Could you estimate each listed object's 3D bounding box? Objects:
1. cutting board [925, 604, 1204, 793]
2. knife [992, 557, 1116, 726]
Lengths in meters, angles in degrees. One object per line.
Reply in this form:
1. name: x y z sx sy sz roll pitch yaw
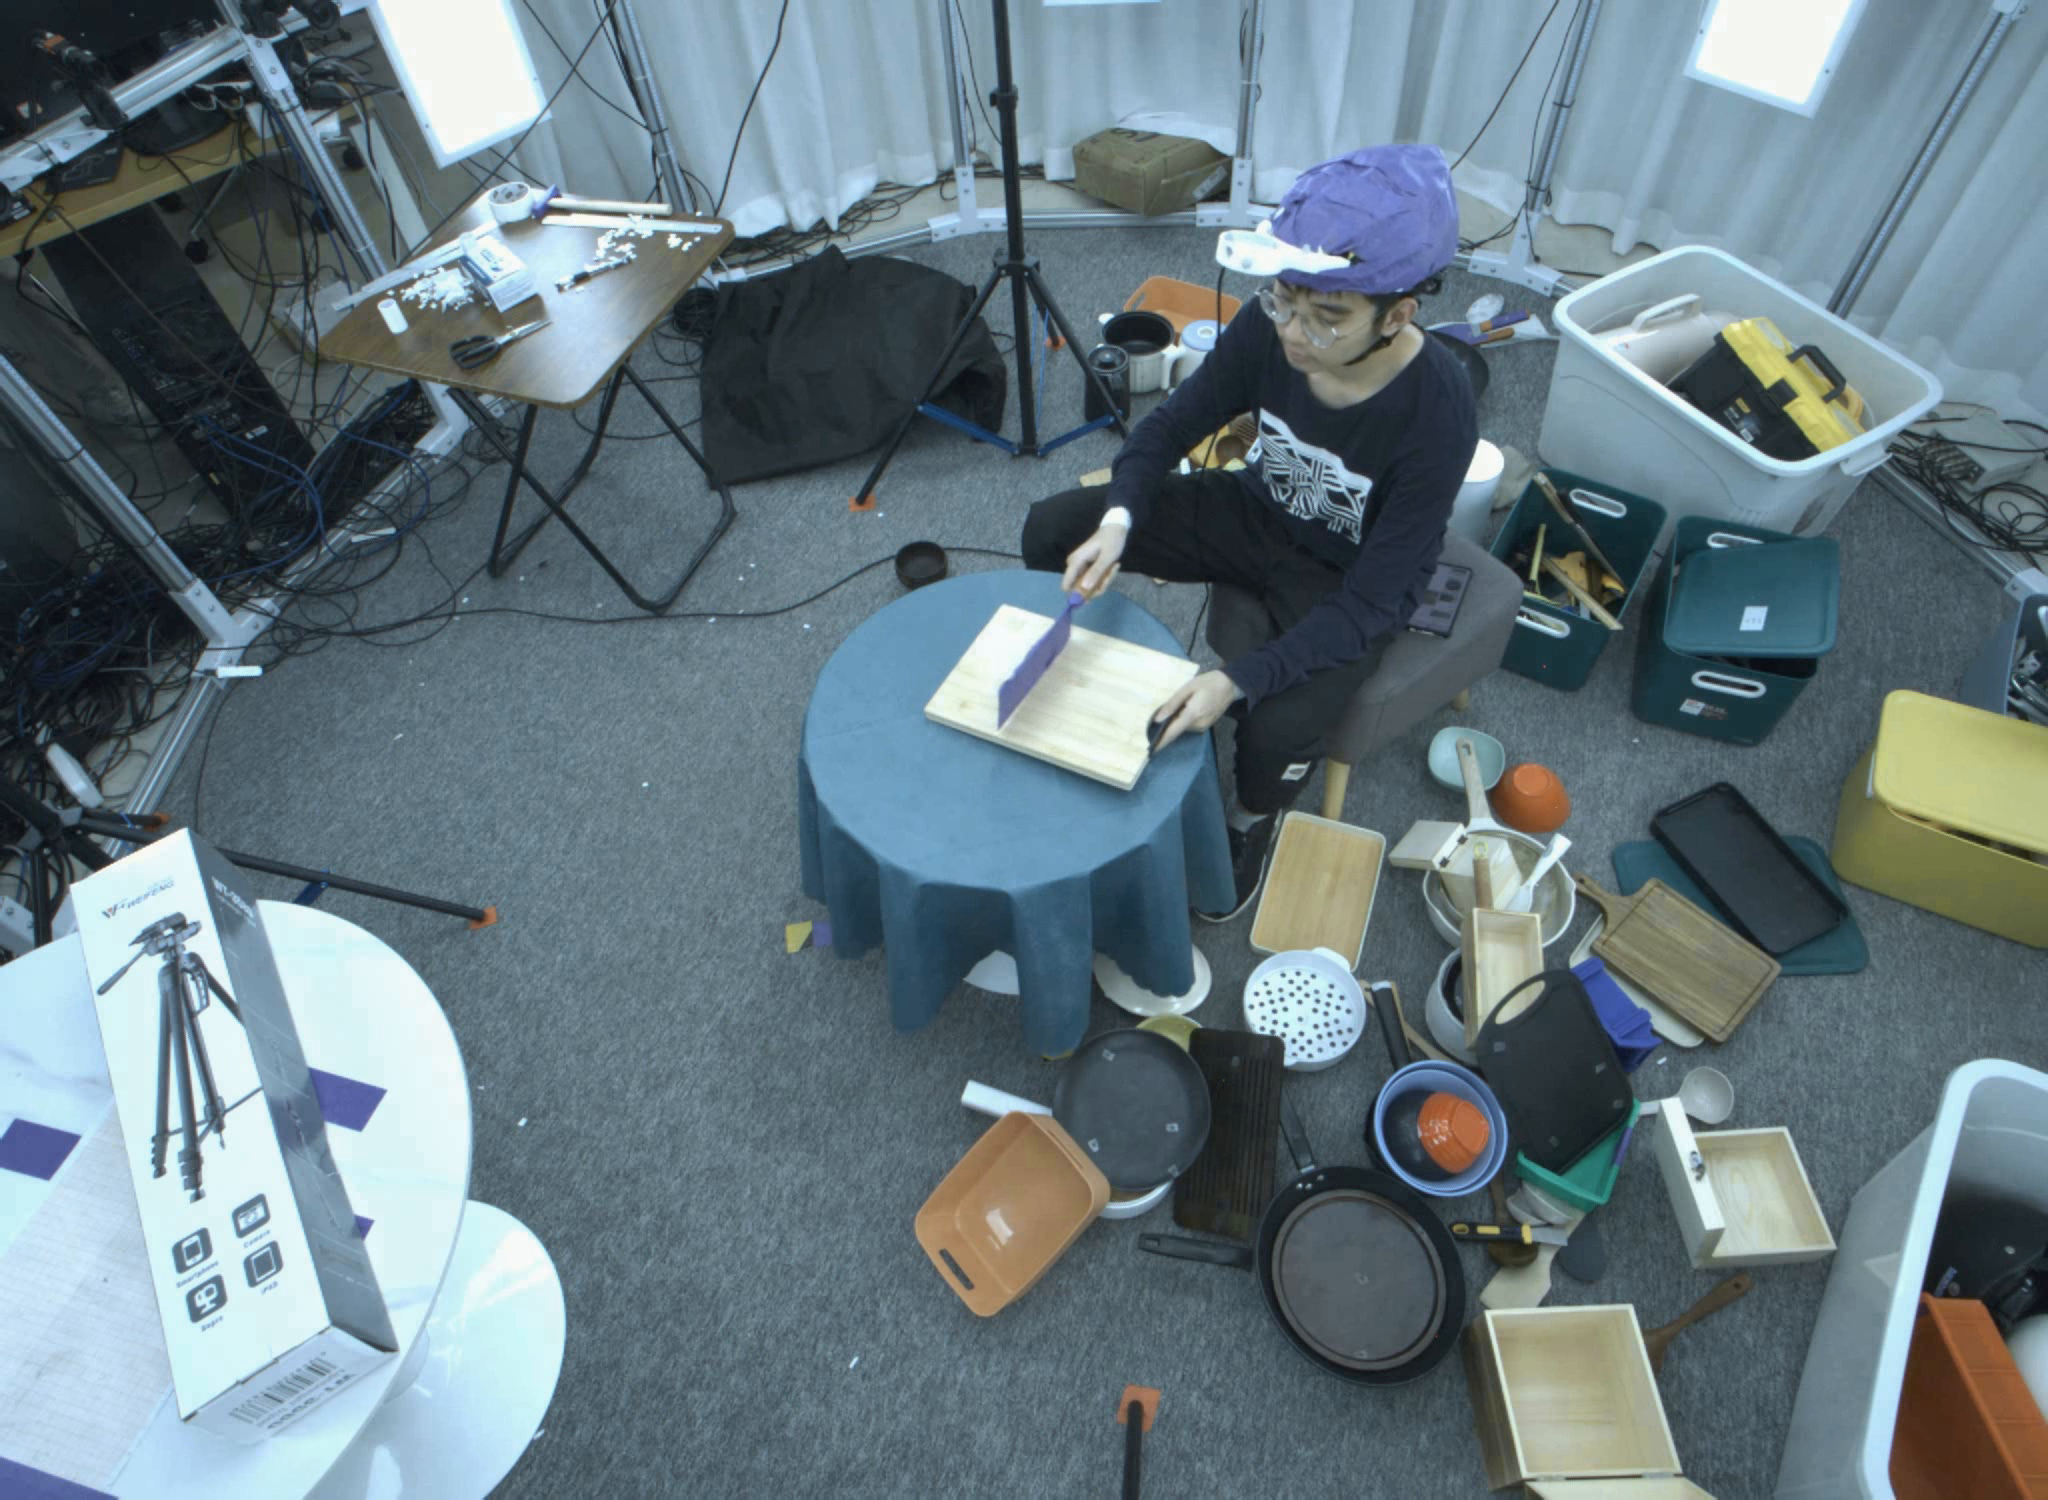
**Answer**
1. cutting board: 0.061 -0.085 1.828 0.343 0.024 0.251 20 57 20
2. knife: 0.041 -0.163 1.816 0.032 0.104 0.316 30 58 16
